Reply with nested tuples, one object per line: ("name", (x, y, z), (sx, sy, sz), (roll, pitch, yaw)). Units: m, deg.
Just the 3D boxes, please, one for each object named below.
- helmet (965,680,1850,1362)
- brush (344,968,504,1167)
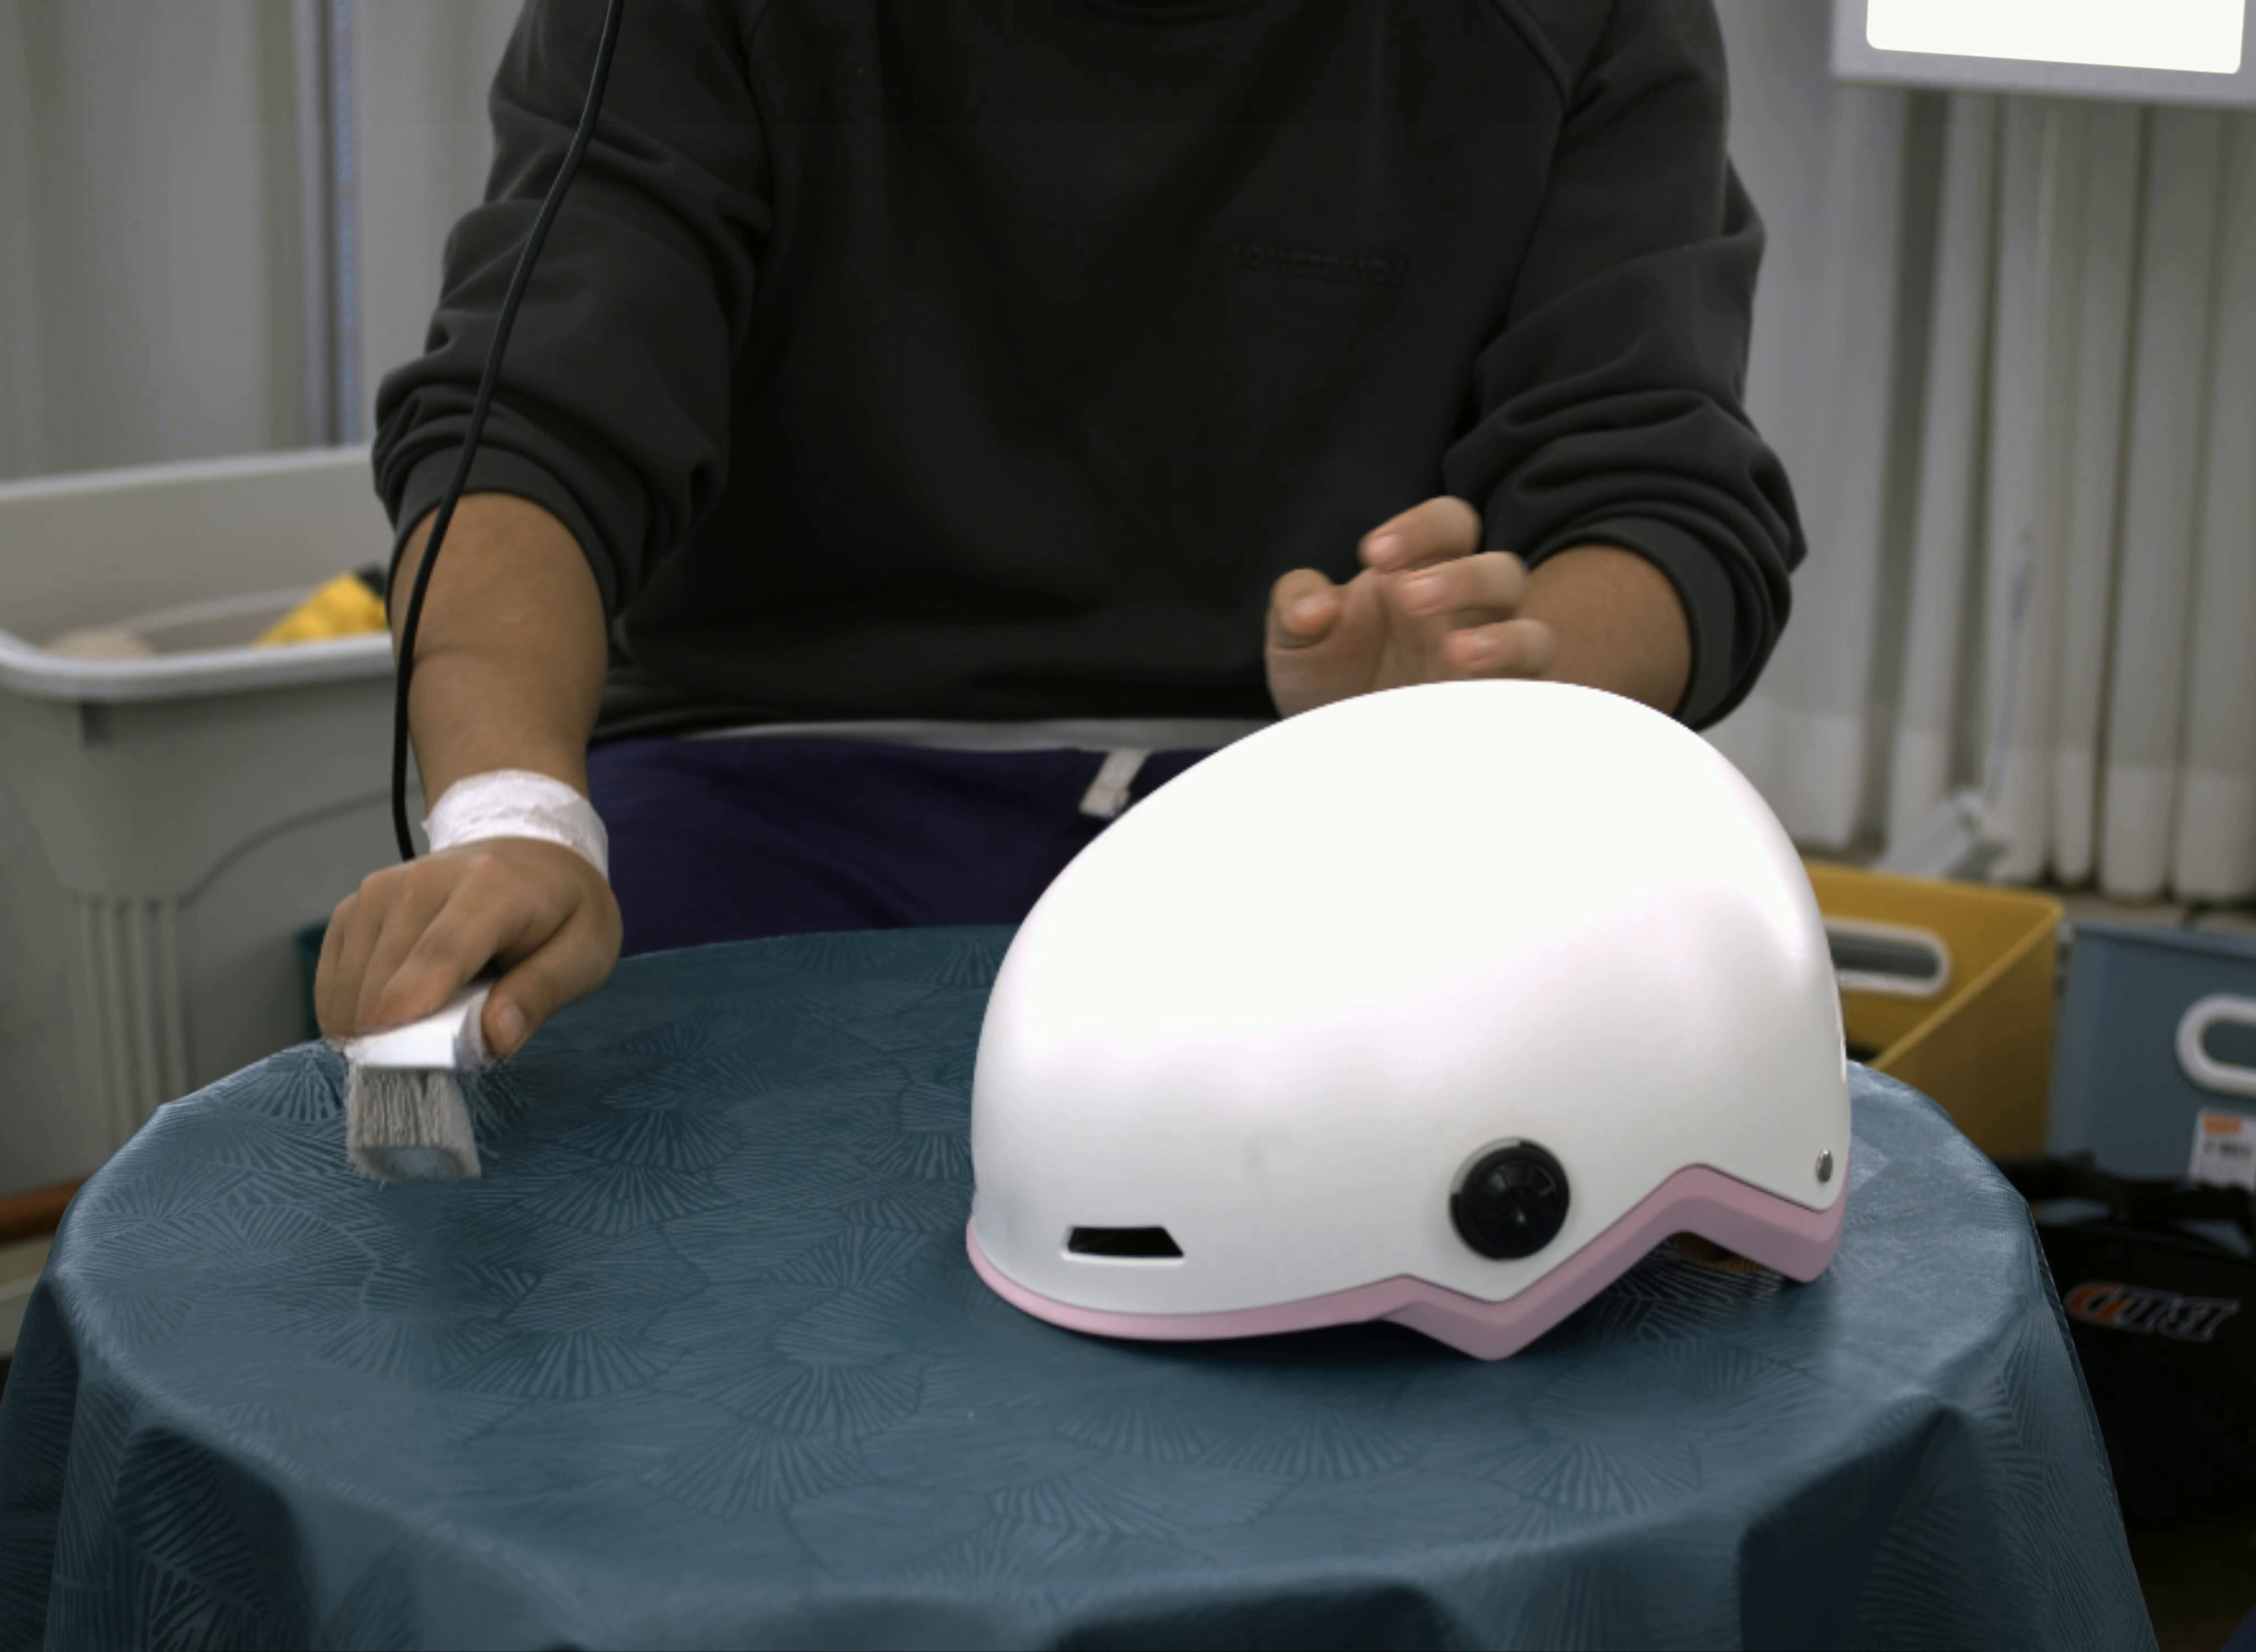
("helmet", (0.084, 0.045, 1.562), (0.269, 0.168, 0.234), (-7, 18, -22))
("brush", (-0.211, 0.073, 1.611), (0.034, 0.050, 0.243), (-3, 2, -2))
